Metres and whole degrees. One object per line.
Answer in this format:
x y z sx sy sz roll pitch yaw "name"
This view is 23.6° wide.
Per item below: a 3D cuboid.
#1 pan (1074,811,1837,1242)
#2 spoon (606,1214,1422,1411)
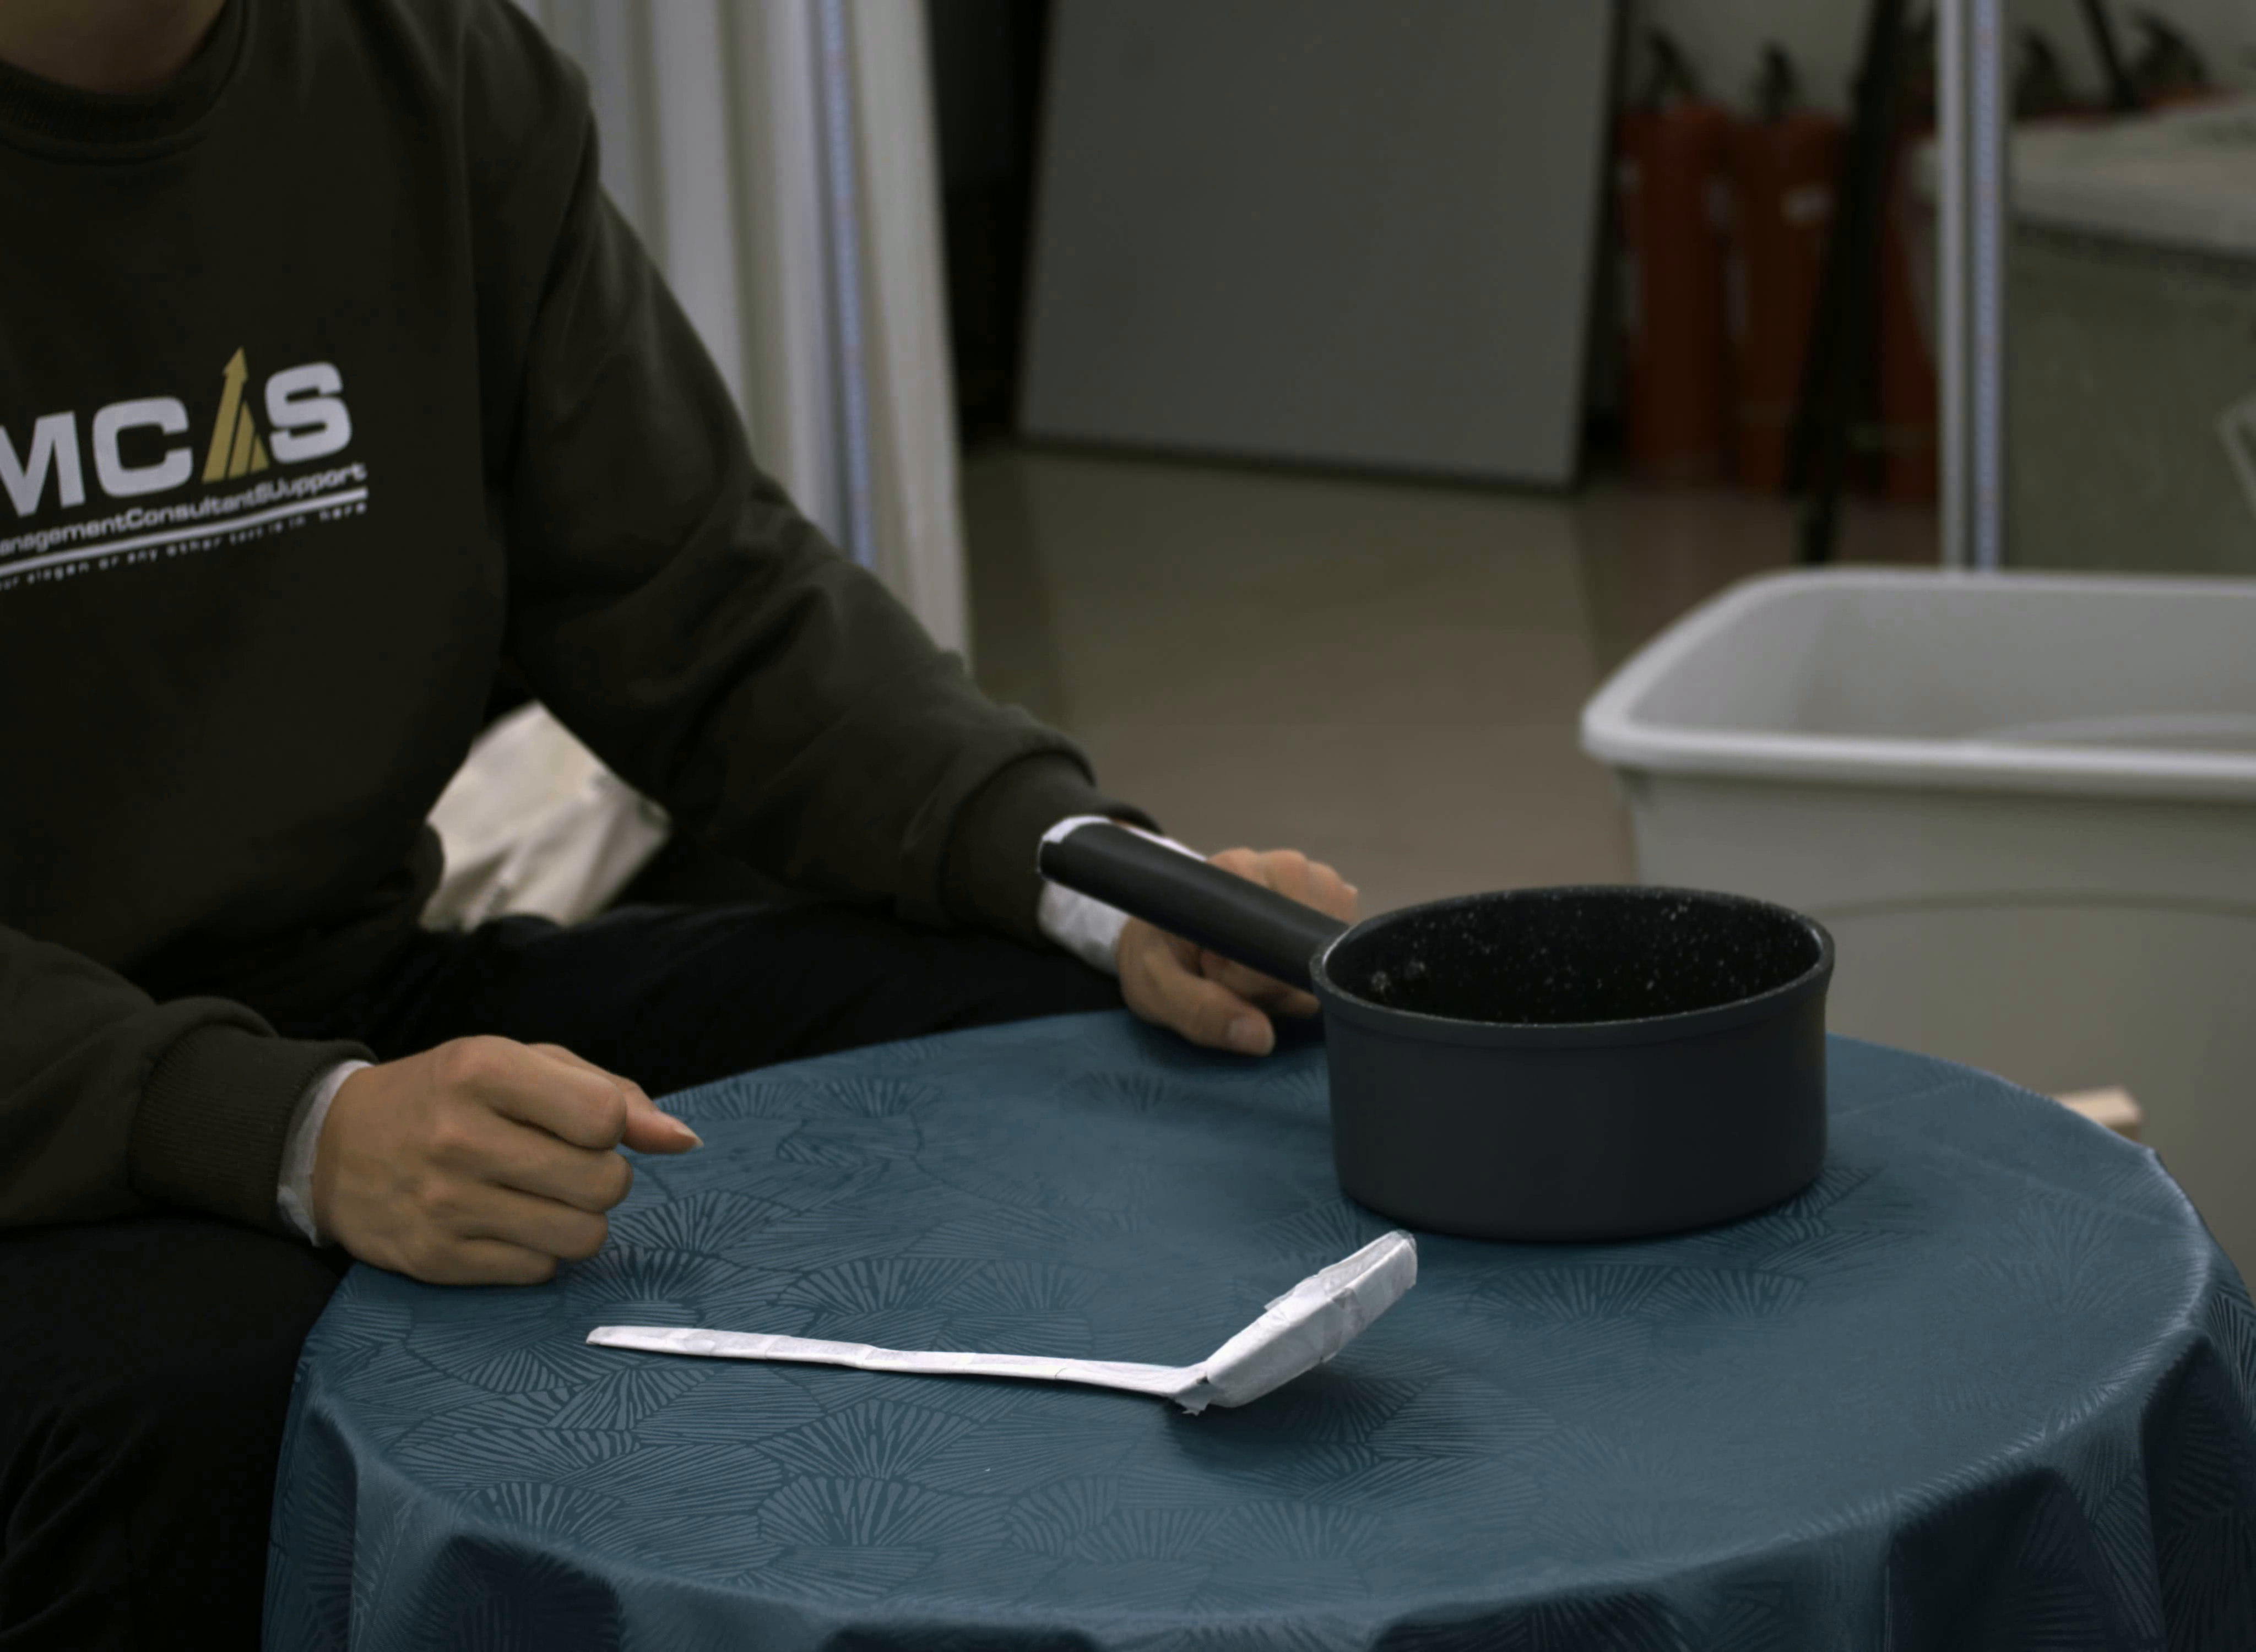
0.095 0.062 1.812 0.168 0.087 0.332 -13 17 -38 "pan"
-0.039 0.136 1.611 0.278 0.060 0.099 3 13 29 "spoon"
